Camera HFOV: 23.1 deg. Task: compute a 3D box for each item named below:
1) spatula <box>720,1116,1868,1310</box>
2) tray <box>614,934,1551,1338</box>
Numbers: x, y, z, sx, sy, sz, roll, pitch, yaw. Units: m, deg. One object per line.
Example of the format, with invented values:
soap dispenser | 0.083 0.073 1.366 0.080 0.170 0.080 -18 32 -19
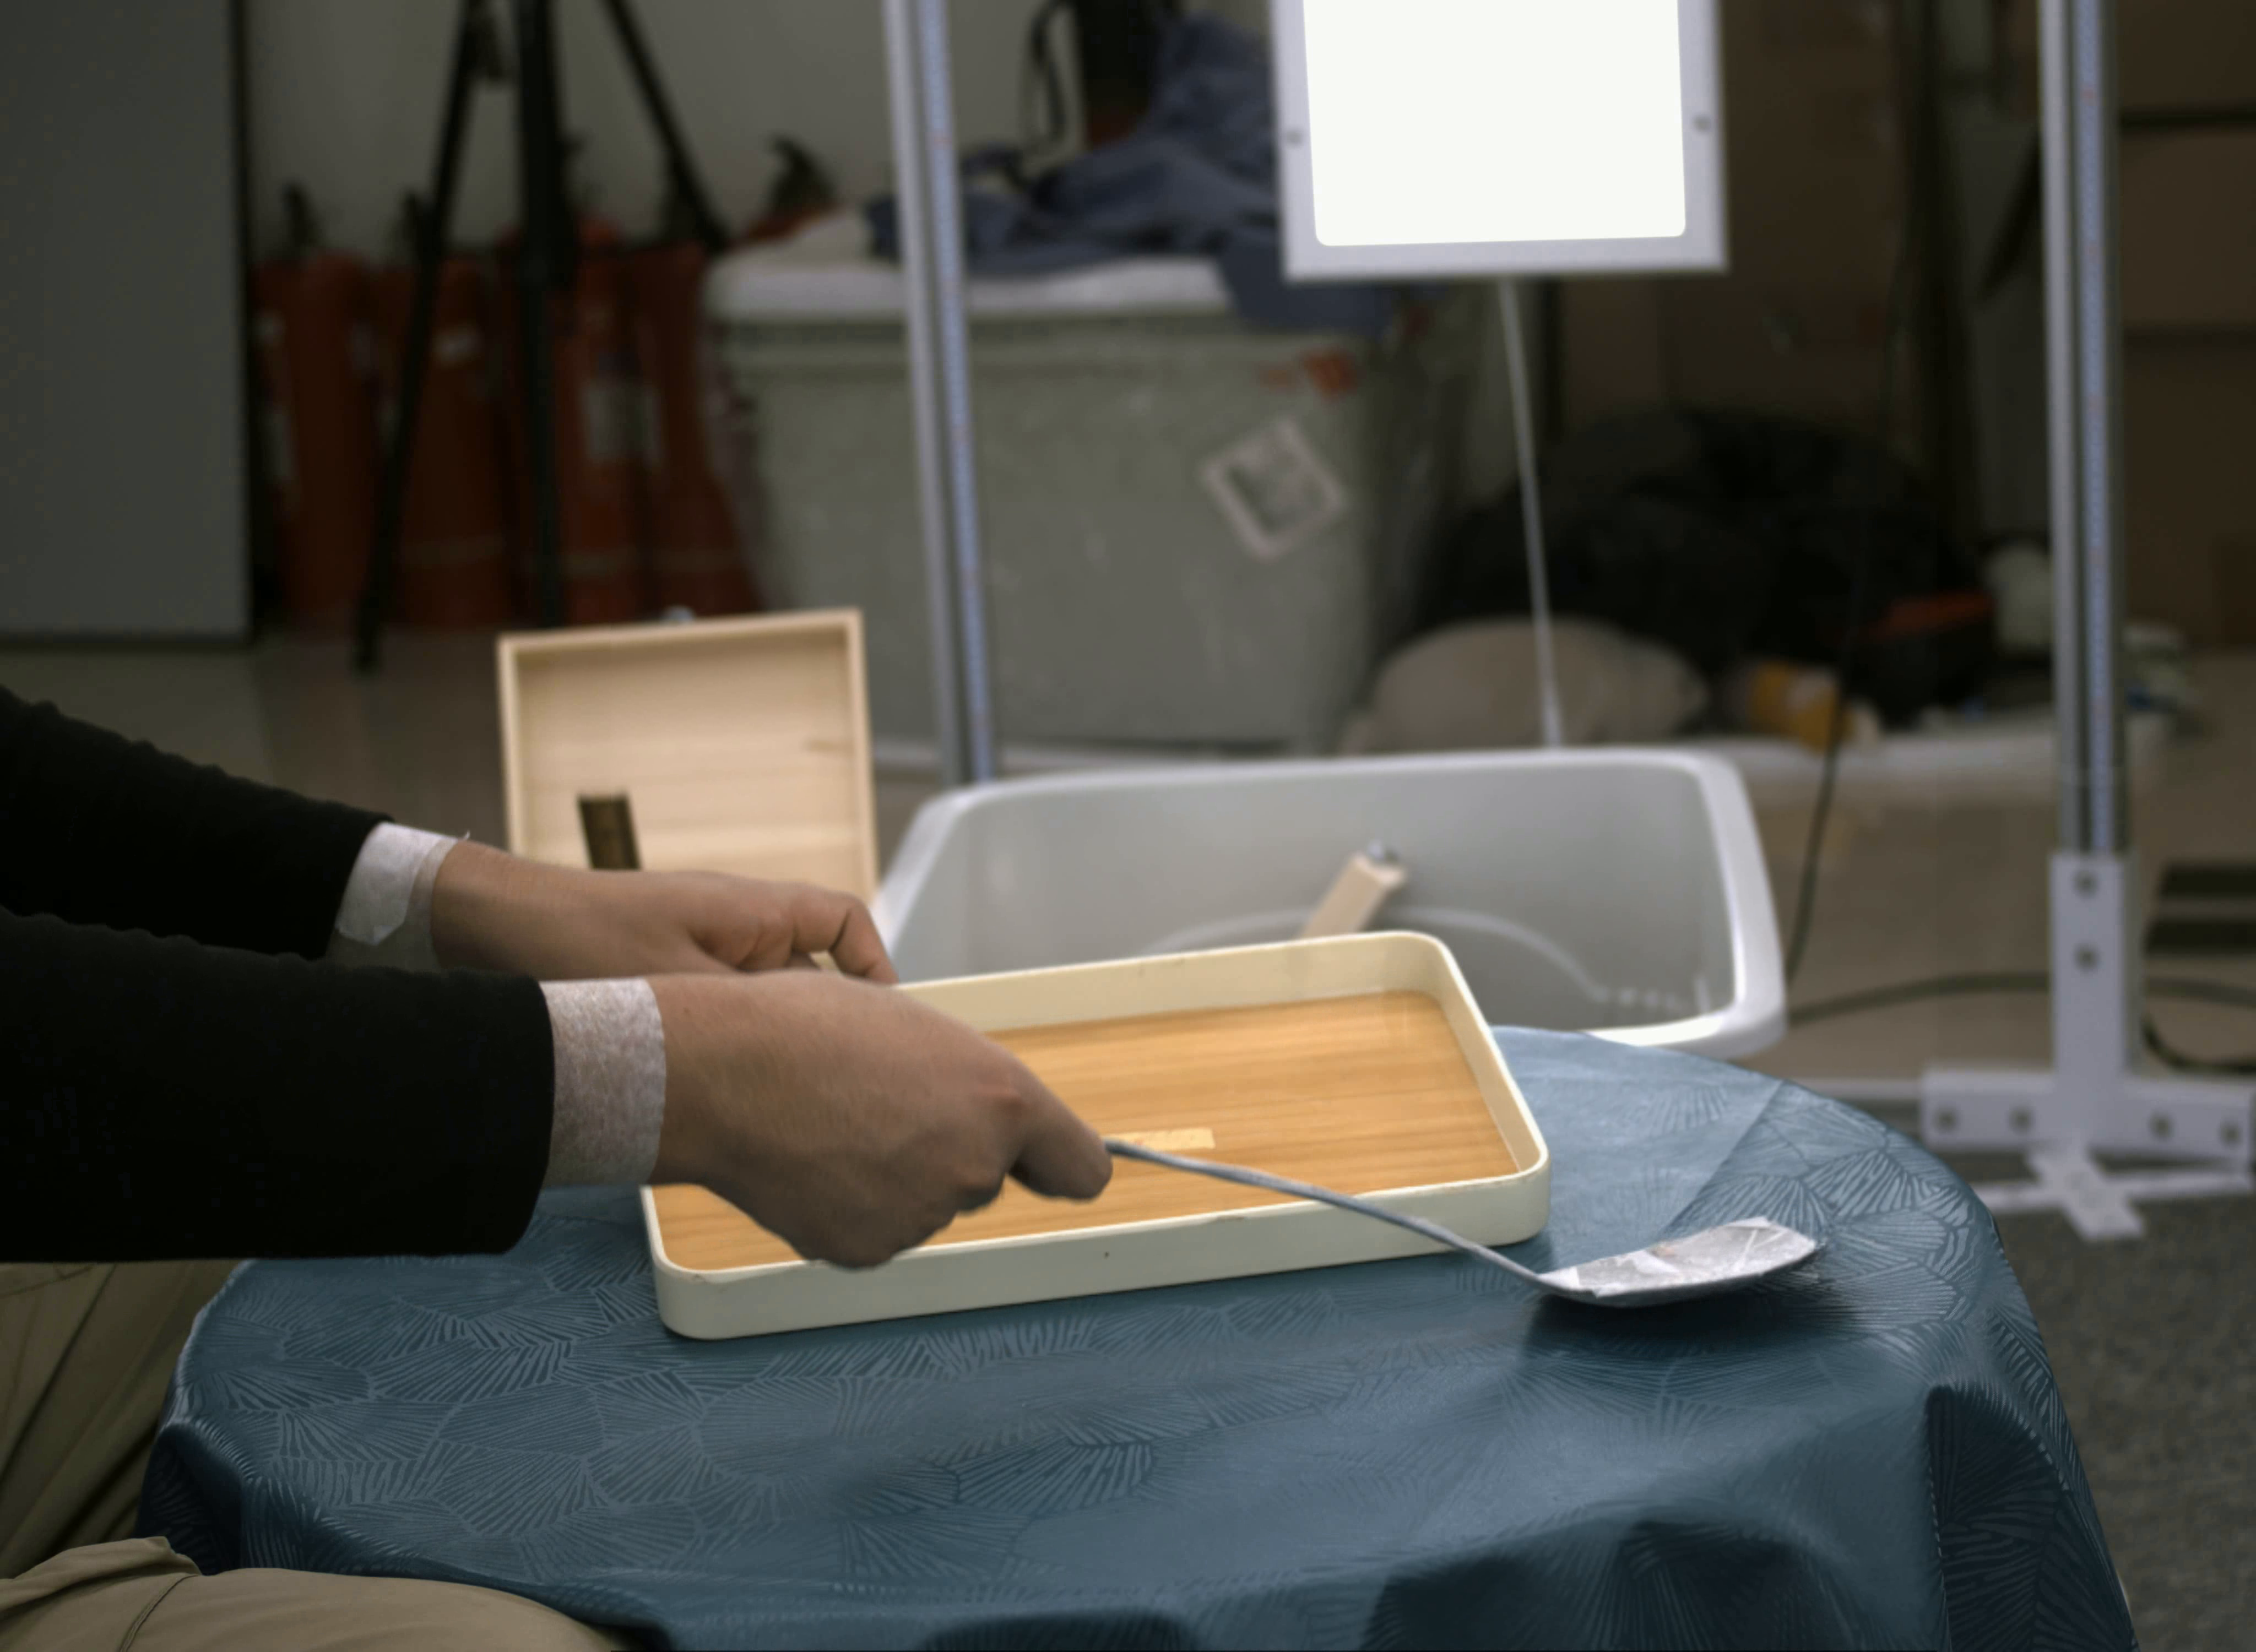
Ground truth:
spatula | 0.054 0.111 1.703 0.360 0.045 0.100 13 -2 -13
tray | -0.019 0.103 1.874 0.298 0.027 0.192 -7 25 -5
